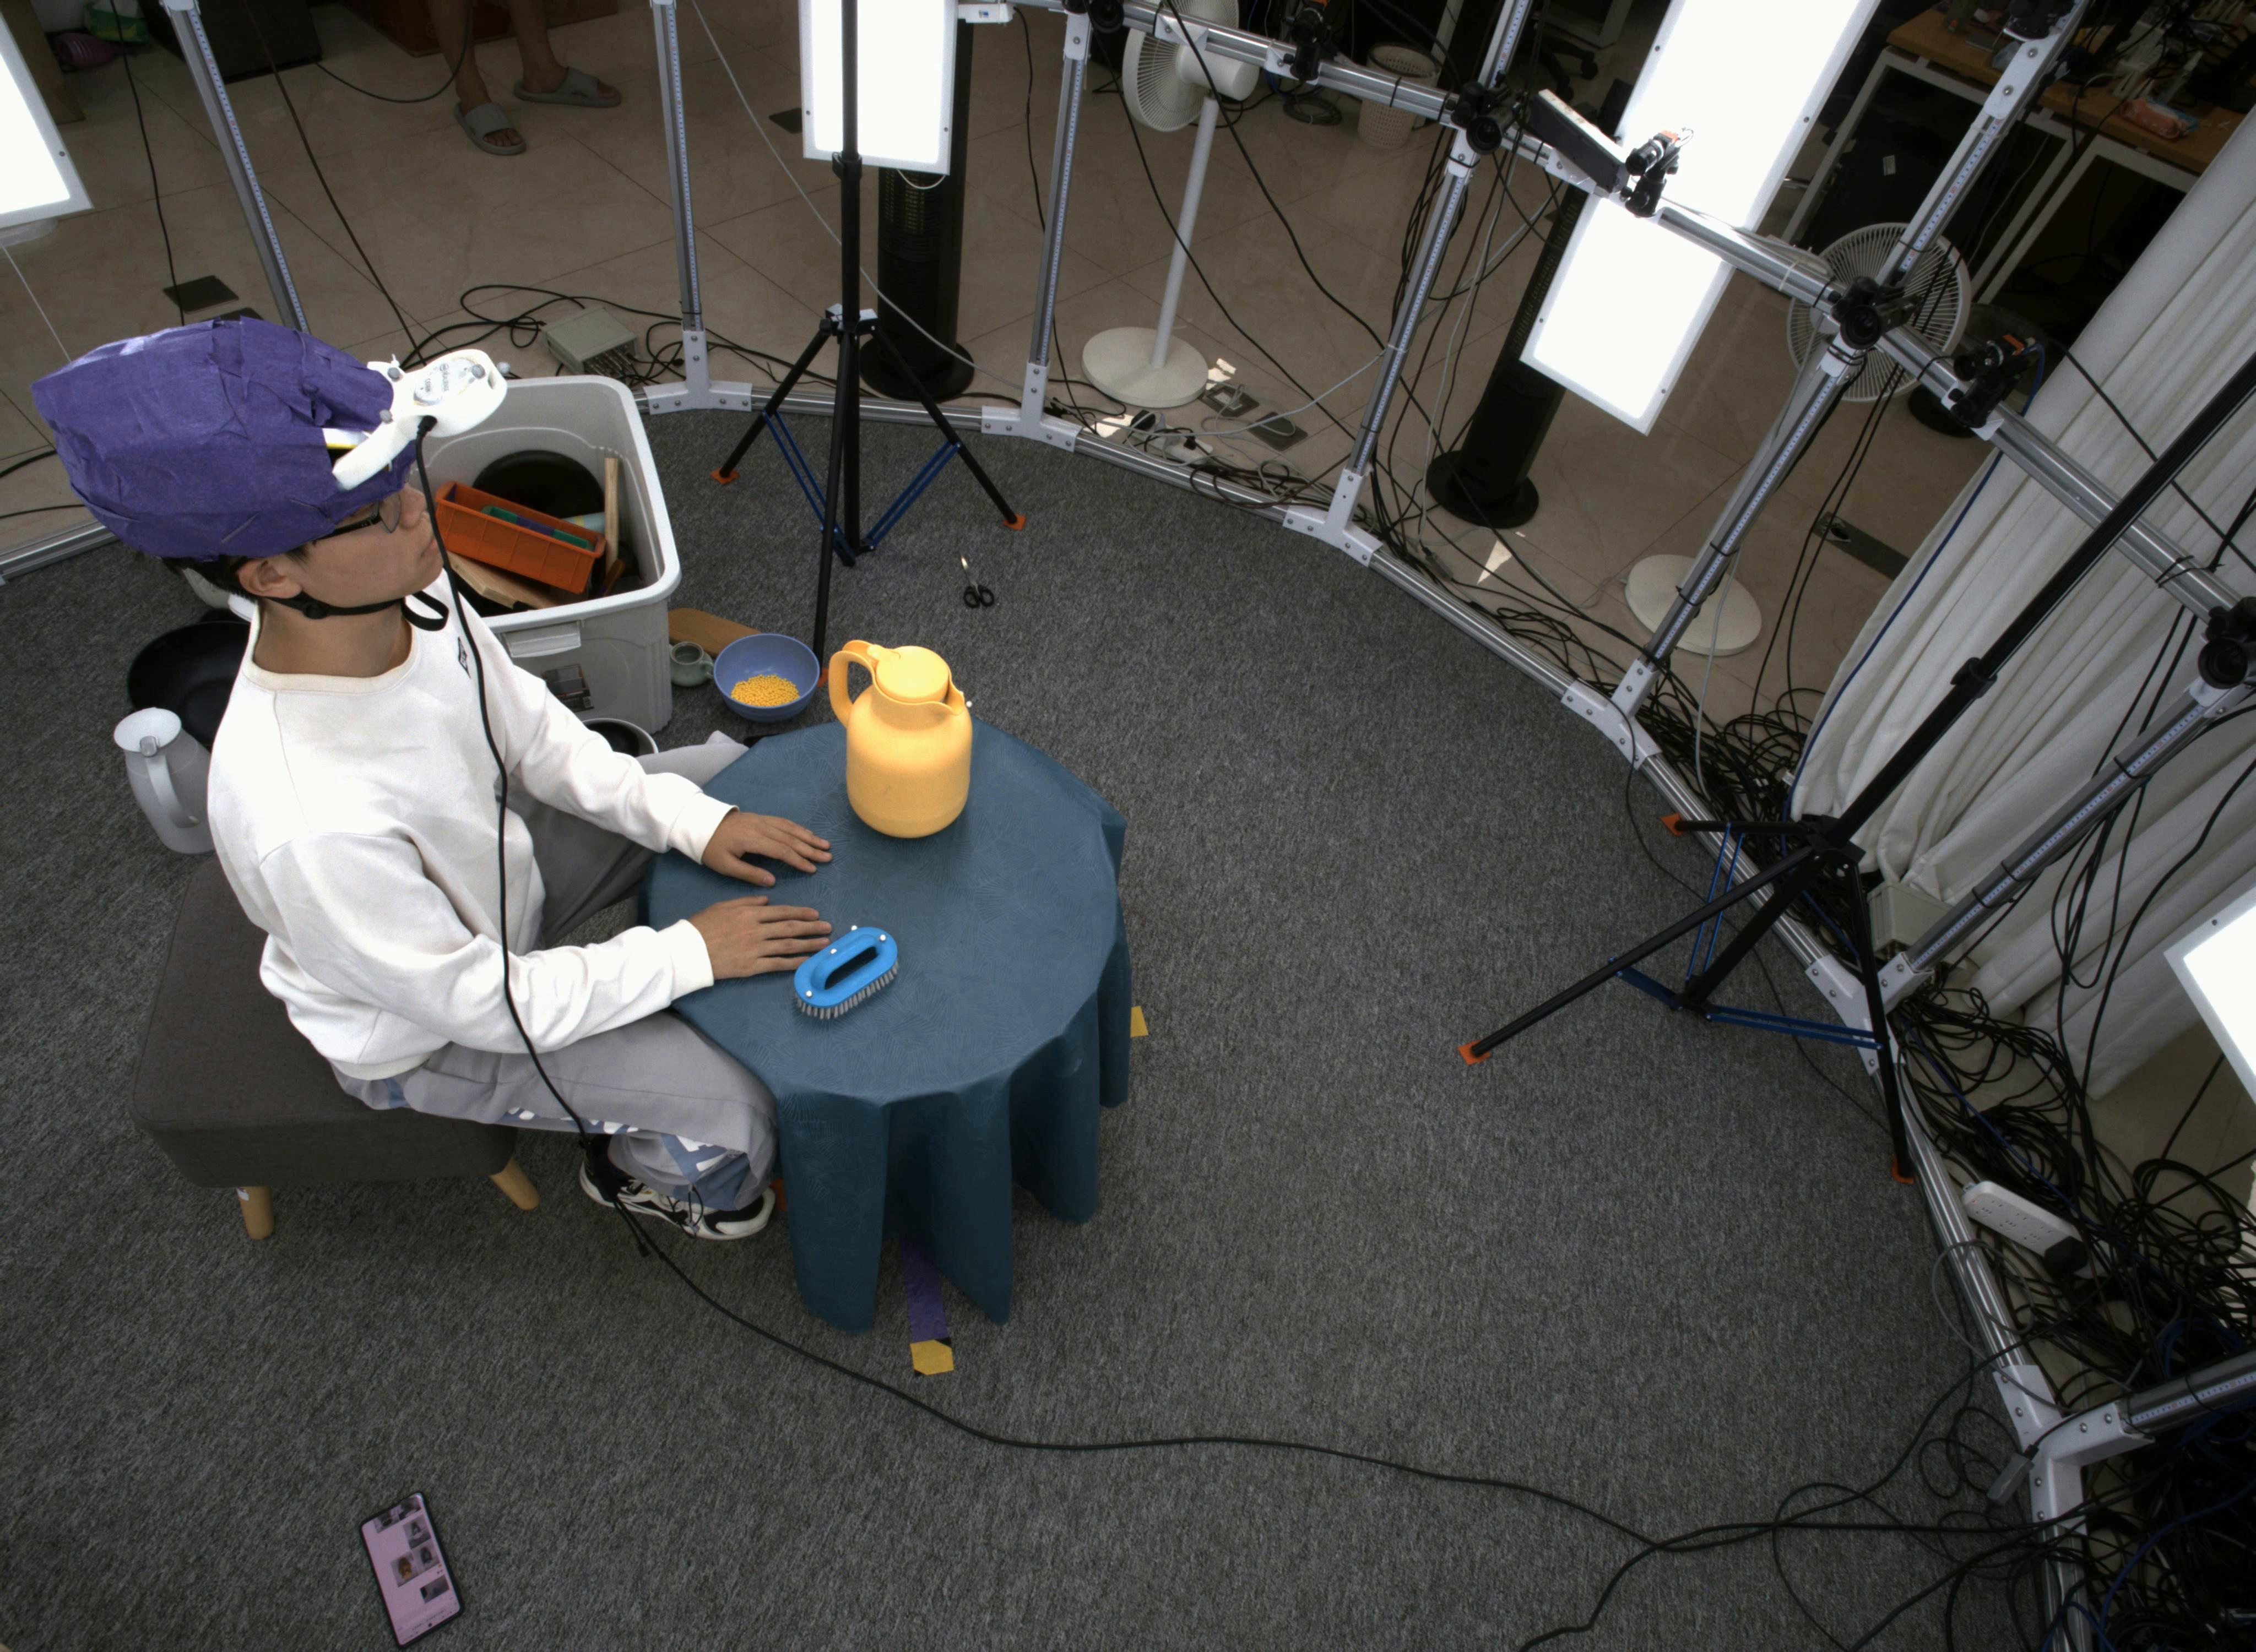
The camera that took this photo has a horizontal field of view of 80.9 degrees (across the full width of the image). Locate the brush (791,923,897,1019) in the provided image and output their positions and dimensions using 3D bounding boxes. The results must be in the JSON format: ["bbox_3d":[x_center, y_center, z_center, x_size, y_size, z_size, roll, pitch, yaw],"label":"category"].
[{"bbox_3d":[-0.344,0.169,1.586,0.142,0.065,0.083,-33,71,-30],"label":"brush"}]

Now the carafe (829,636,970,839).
[{"bbox_3d":[-0.301,-0.126,1.690,0.199,0.266,0.163,31,51,12],"label":"carafe"}]
